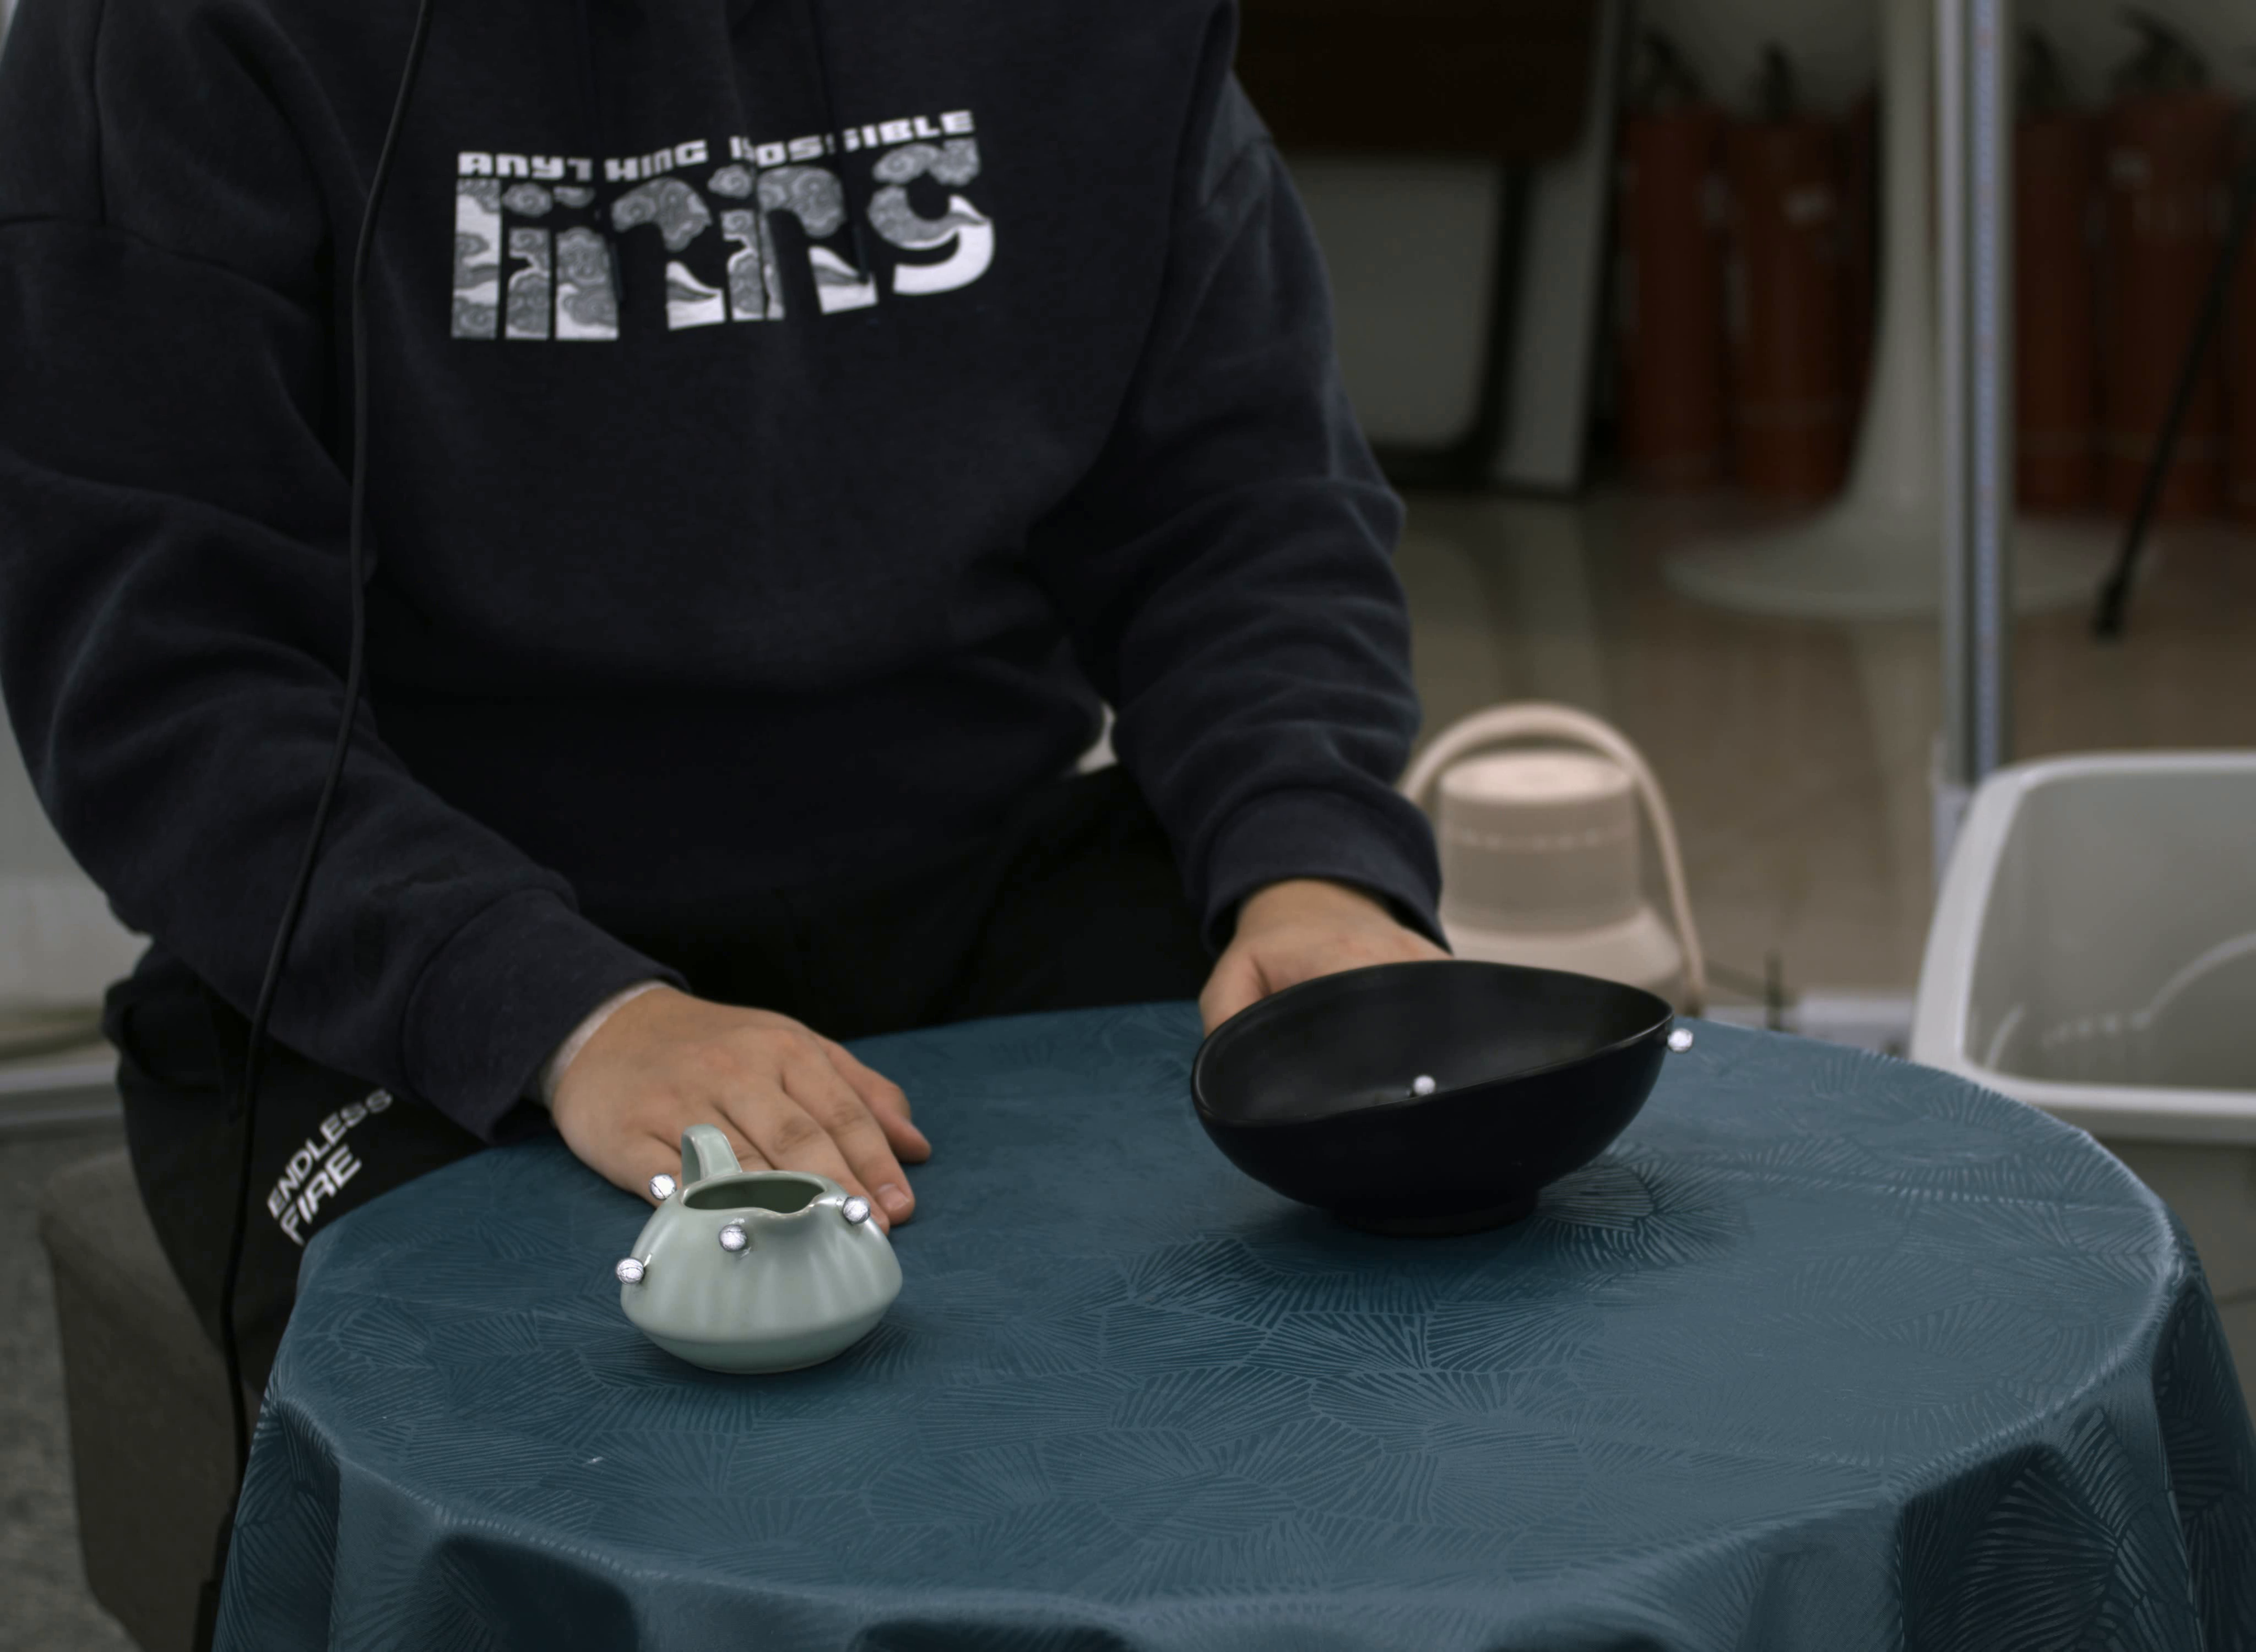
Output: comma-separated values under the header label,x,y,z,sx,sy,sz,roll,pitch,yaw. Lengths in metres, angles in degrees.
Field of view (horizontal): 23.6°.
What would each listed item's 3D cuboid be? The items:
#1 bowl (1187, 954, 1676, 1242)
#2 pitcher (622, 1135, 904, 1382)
label,x,y,z,sx,sy,sz,roll,pitch,yaw
bowl,0.100,0.092,1.732,0.166,0.067,0.139,-14,16,-33
pitcher,-0.115,0.132,1.646,0.084,0.061,0.109,-8,12,-21
